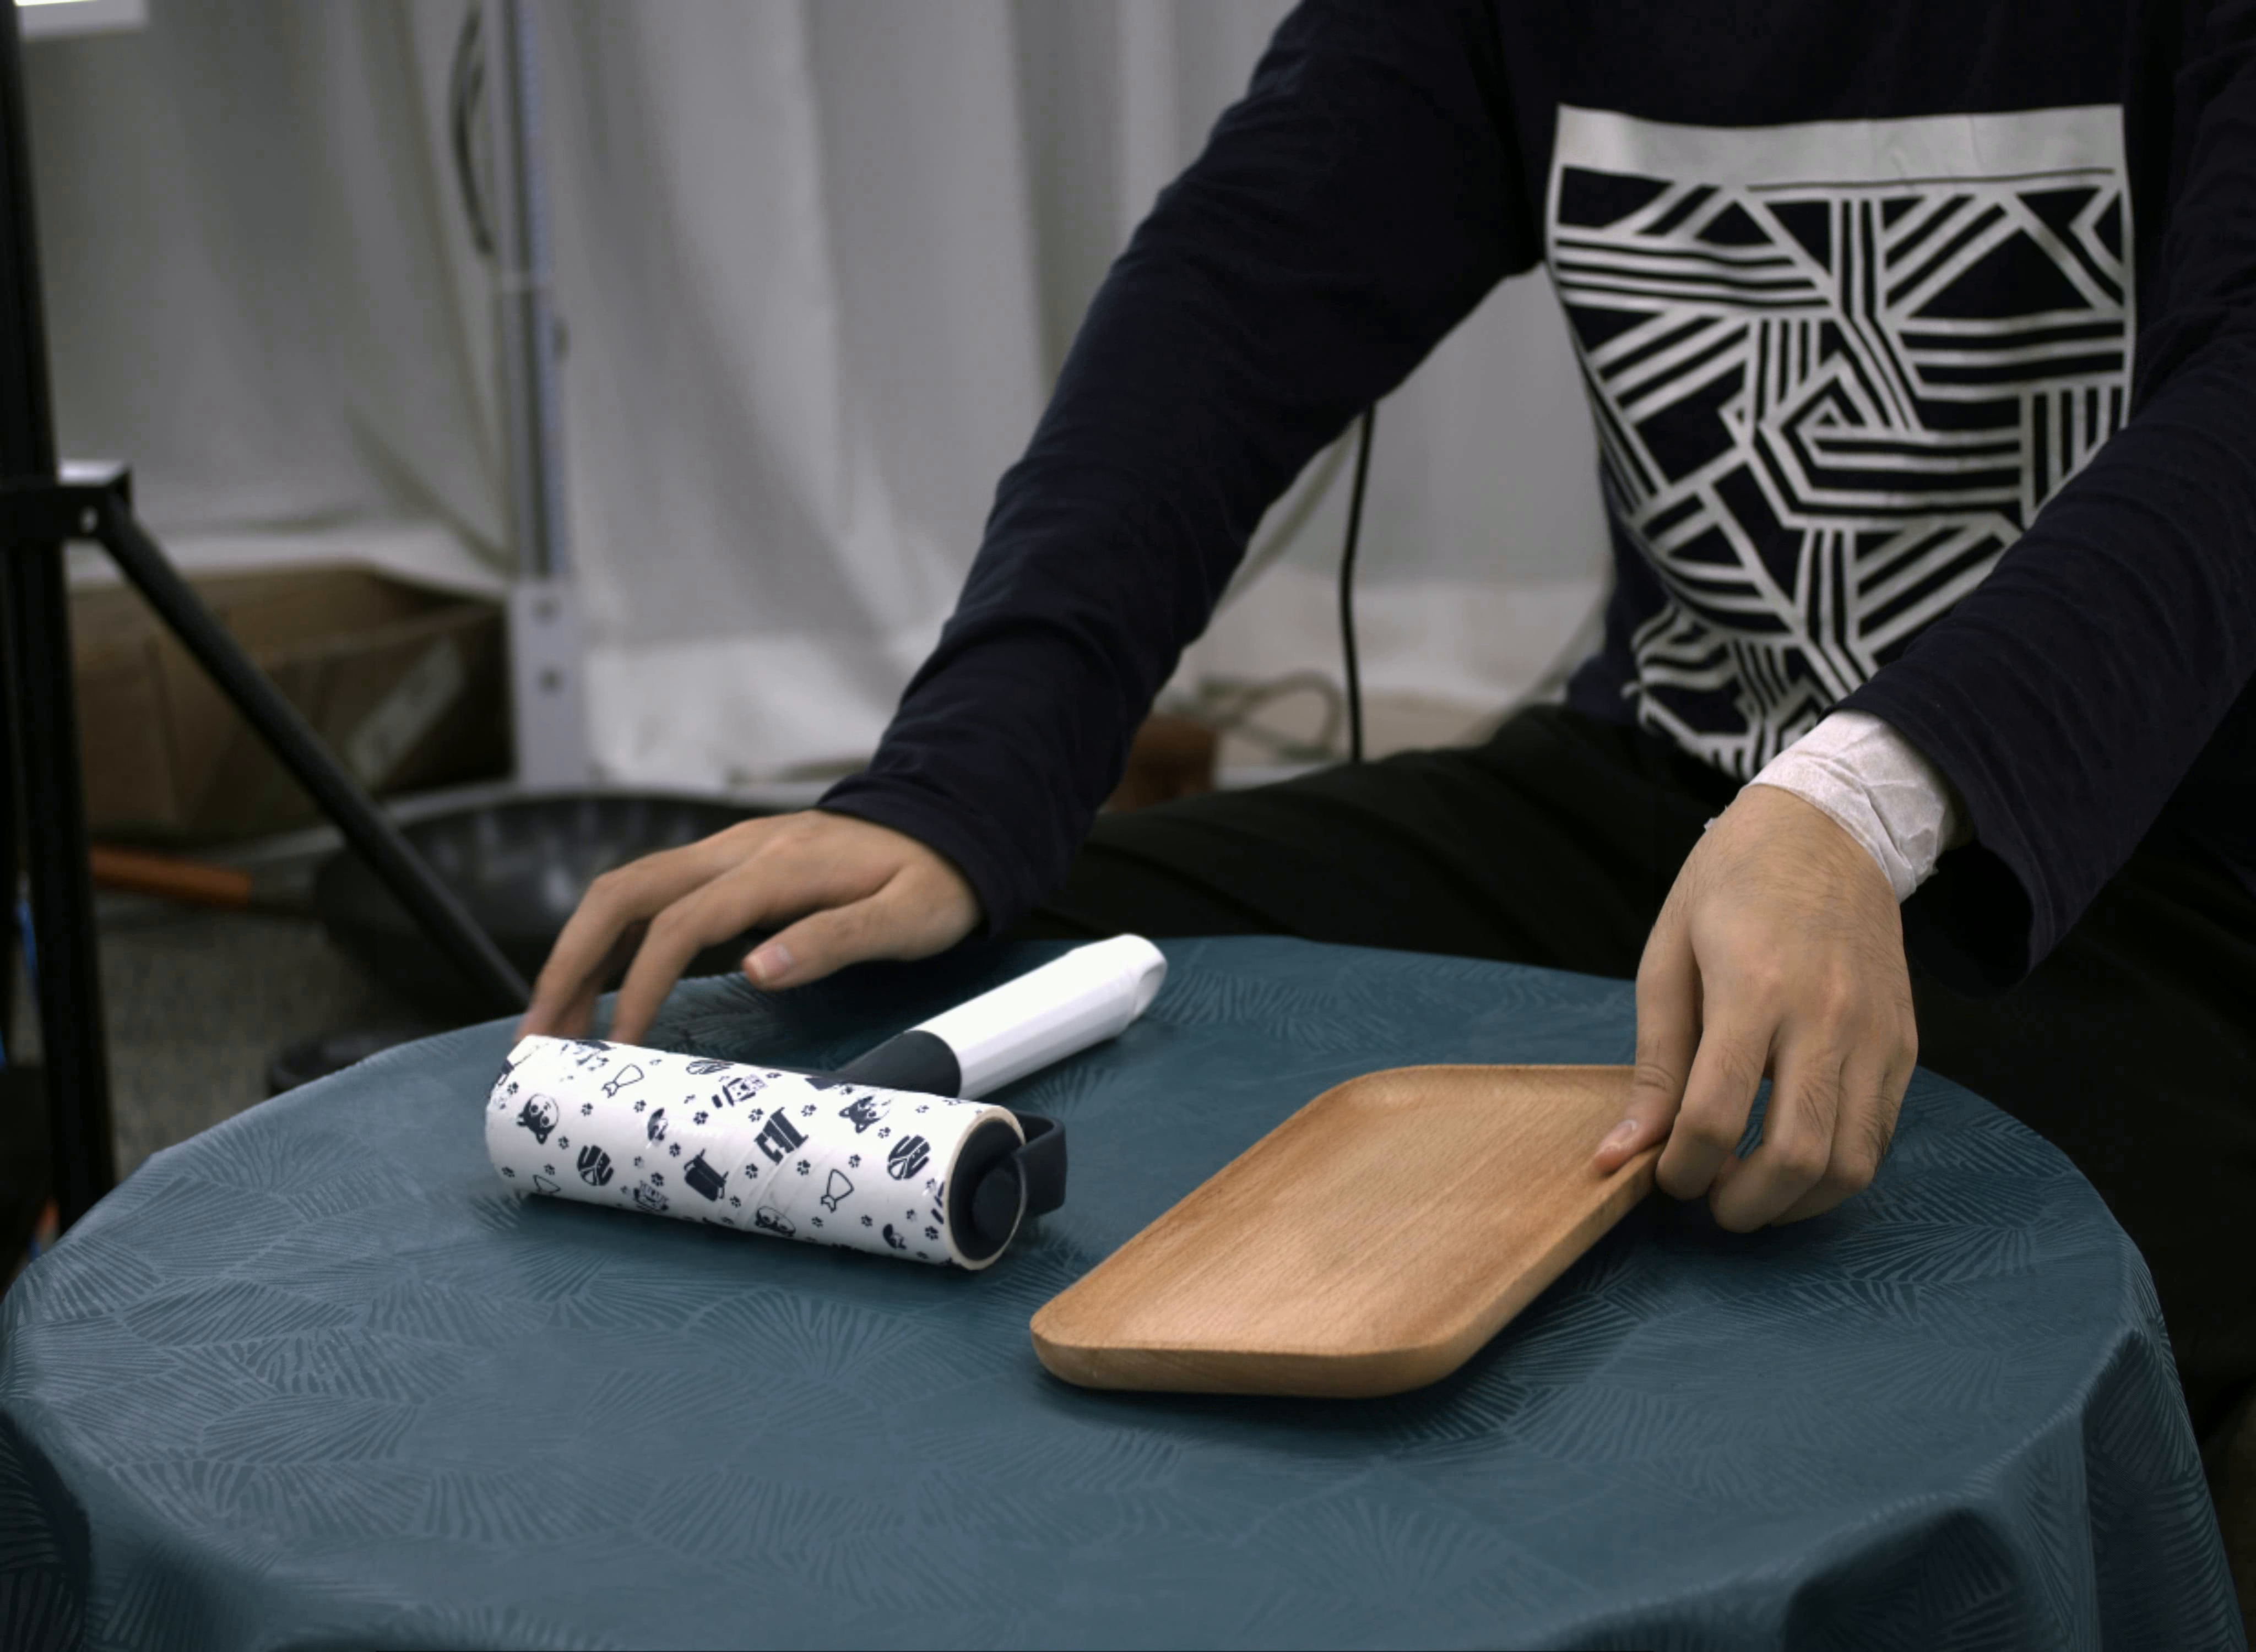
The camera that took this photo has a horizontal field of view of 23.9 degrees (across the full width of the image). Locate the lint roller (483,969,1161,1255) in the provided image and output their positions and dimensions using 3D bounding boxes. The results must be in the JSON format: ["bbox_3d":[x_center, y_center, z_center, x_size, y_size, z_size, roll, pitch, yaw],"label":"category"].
[{"bbox_3d":[-0.059,0.072,1.627,0.179,0.050,0.242,6,15,30],"label":"lint roller"}]

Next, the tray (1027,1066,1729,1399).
[{"bbox_3d":[0.075,0.112,1.490,0.133,0.023,0.246,3,15,28],"label":"tray"}]
